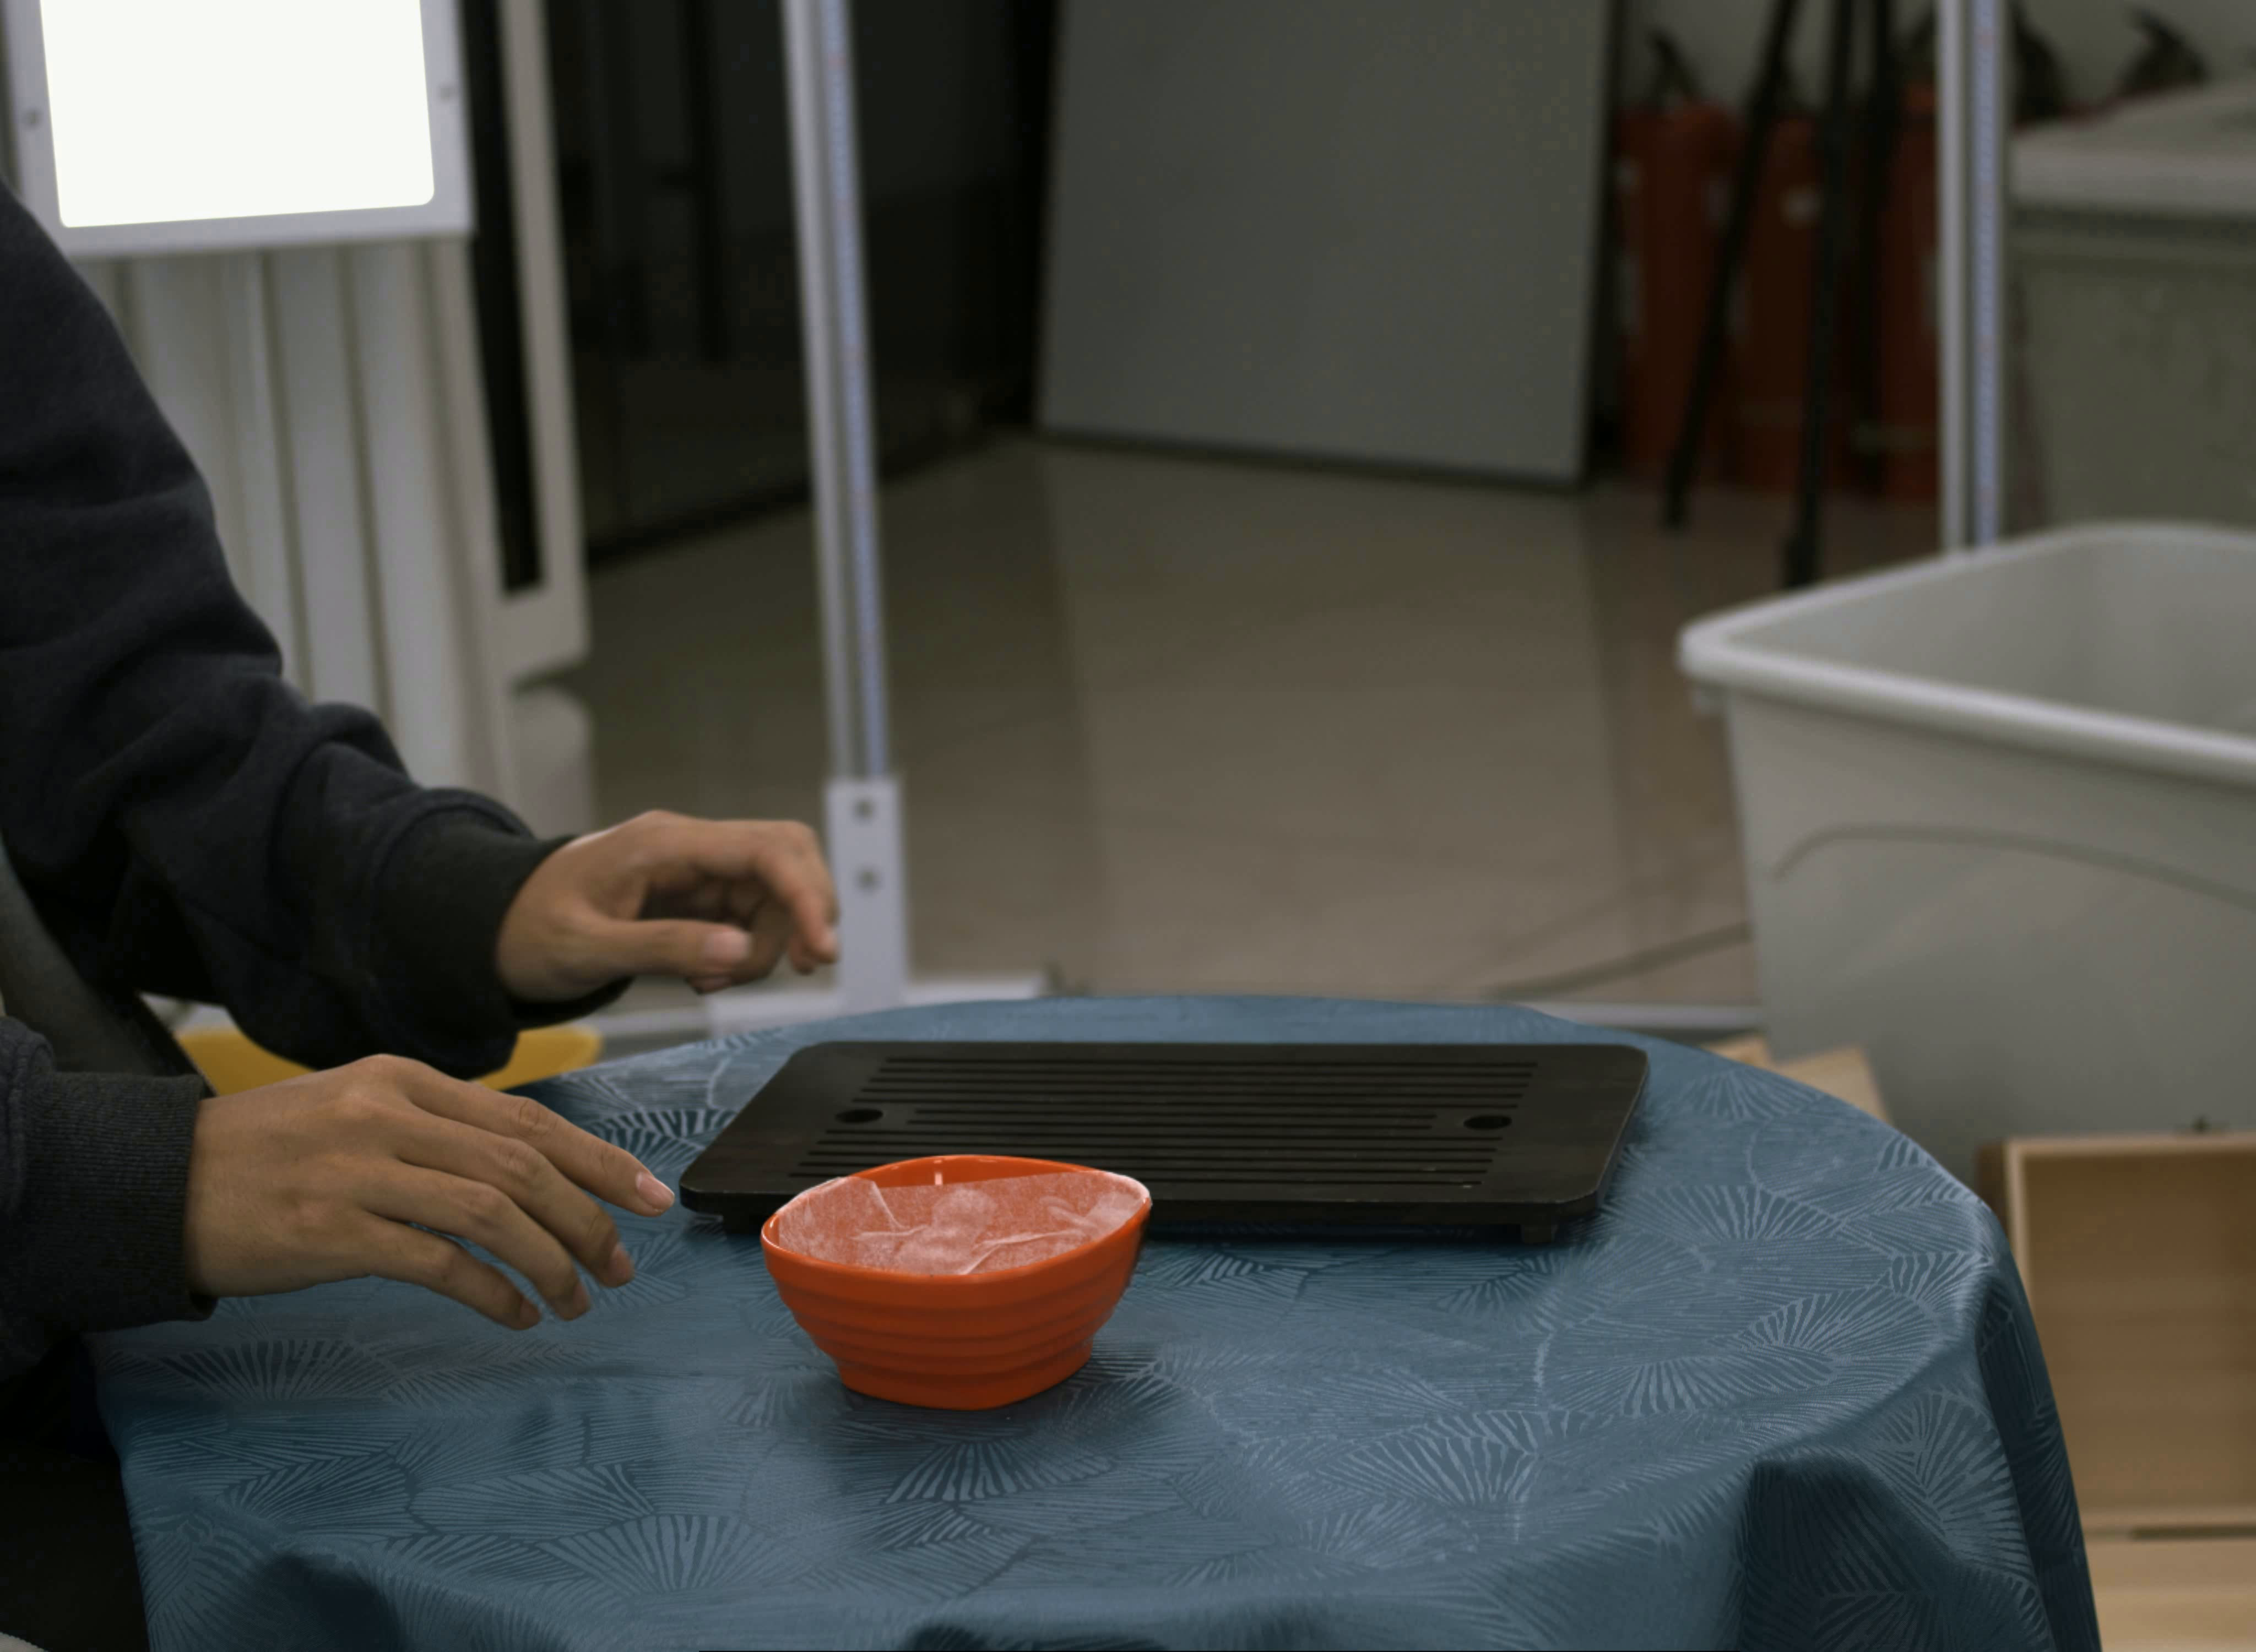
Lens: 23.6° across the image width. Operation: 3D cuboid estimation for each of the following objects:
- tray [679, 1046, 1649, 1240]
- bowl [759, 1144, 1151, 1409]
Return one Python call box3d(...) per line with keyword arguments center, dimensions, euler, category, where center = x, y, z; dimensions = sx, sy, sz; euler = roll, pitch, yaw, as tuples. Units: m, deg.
box3d(center=(0.016, 0.105, 1.793), dimensions=(0.304, 0.019, 0.169), euler=(-1, 14, 14), category="tray")
box3d(center=(-0.050, 0.136, 1.605), dimensions=(0.117, 0.052, 0.119), euler=(-3, 15, 0), category="bowl")
